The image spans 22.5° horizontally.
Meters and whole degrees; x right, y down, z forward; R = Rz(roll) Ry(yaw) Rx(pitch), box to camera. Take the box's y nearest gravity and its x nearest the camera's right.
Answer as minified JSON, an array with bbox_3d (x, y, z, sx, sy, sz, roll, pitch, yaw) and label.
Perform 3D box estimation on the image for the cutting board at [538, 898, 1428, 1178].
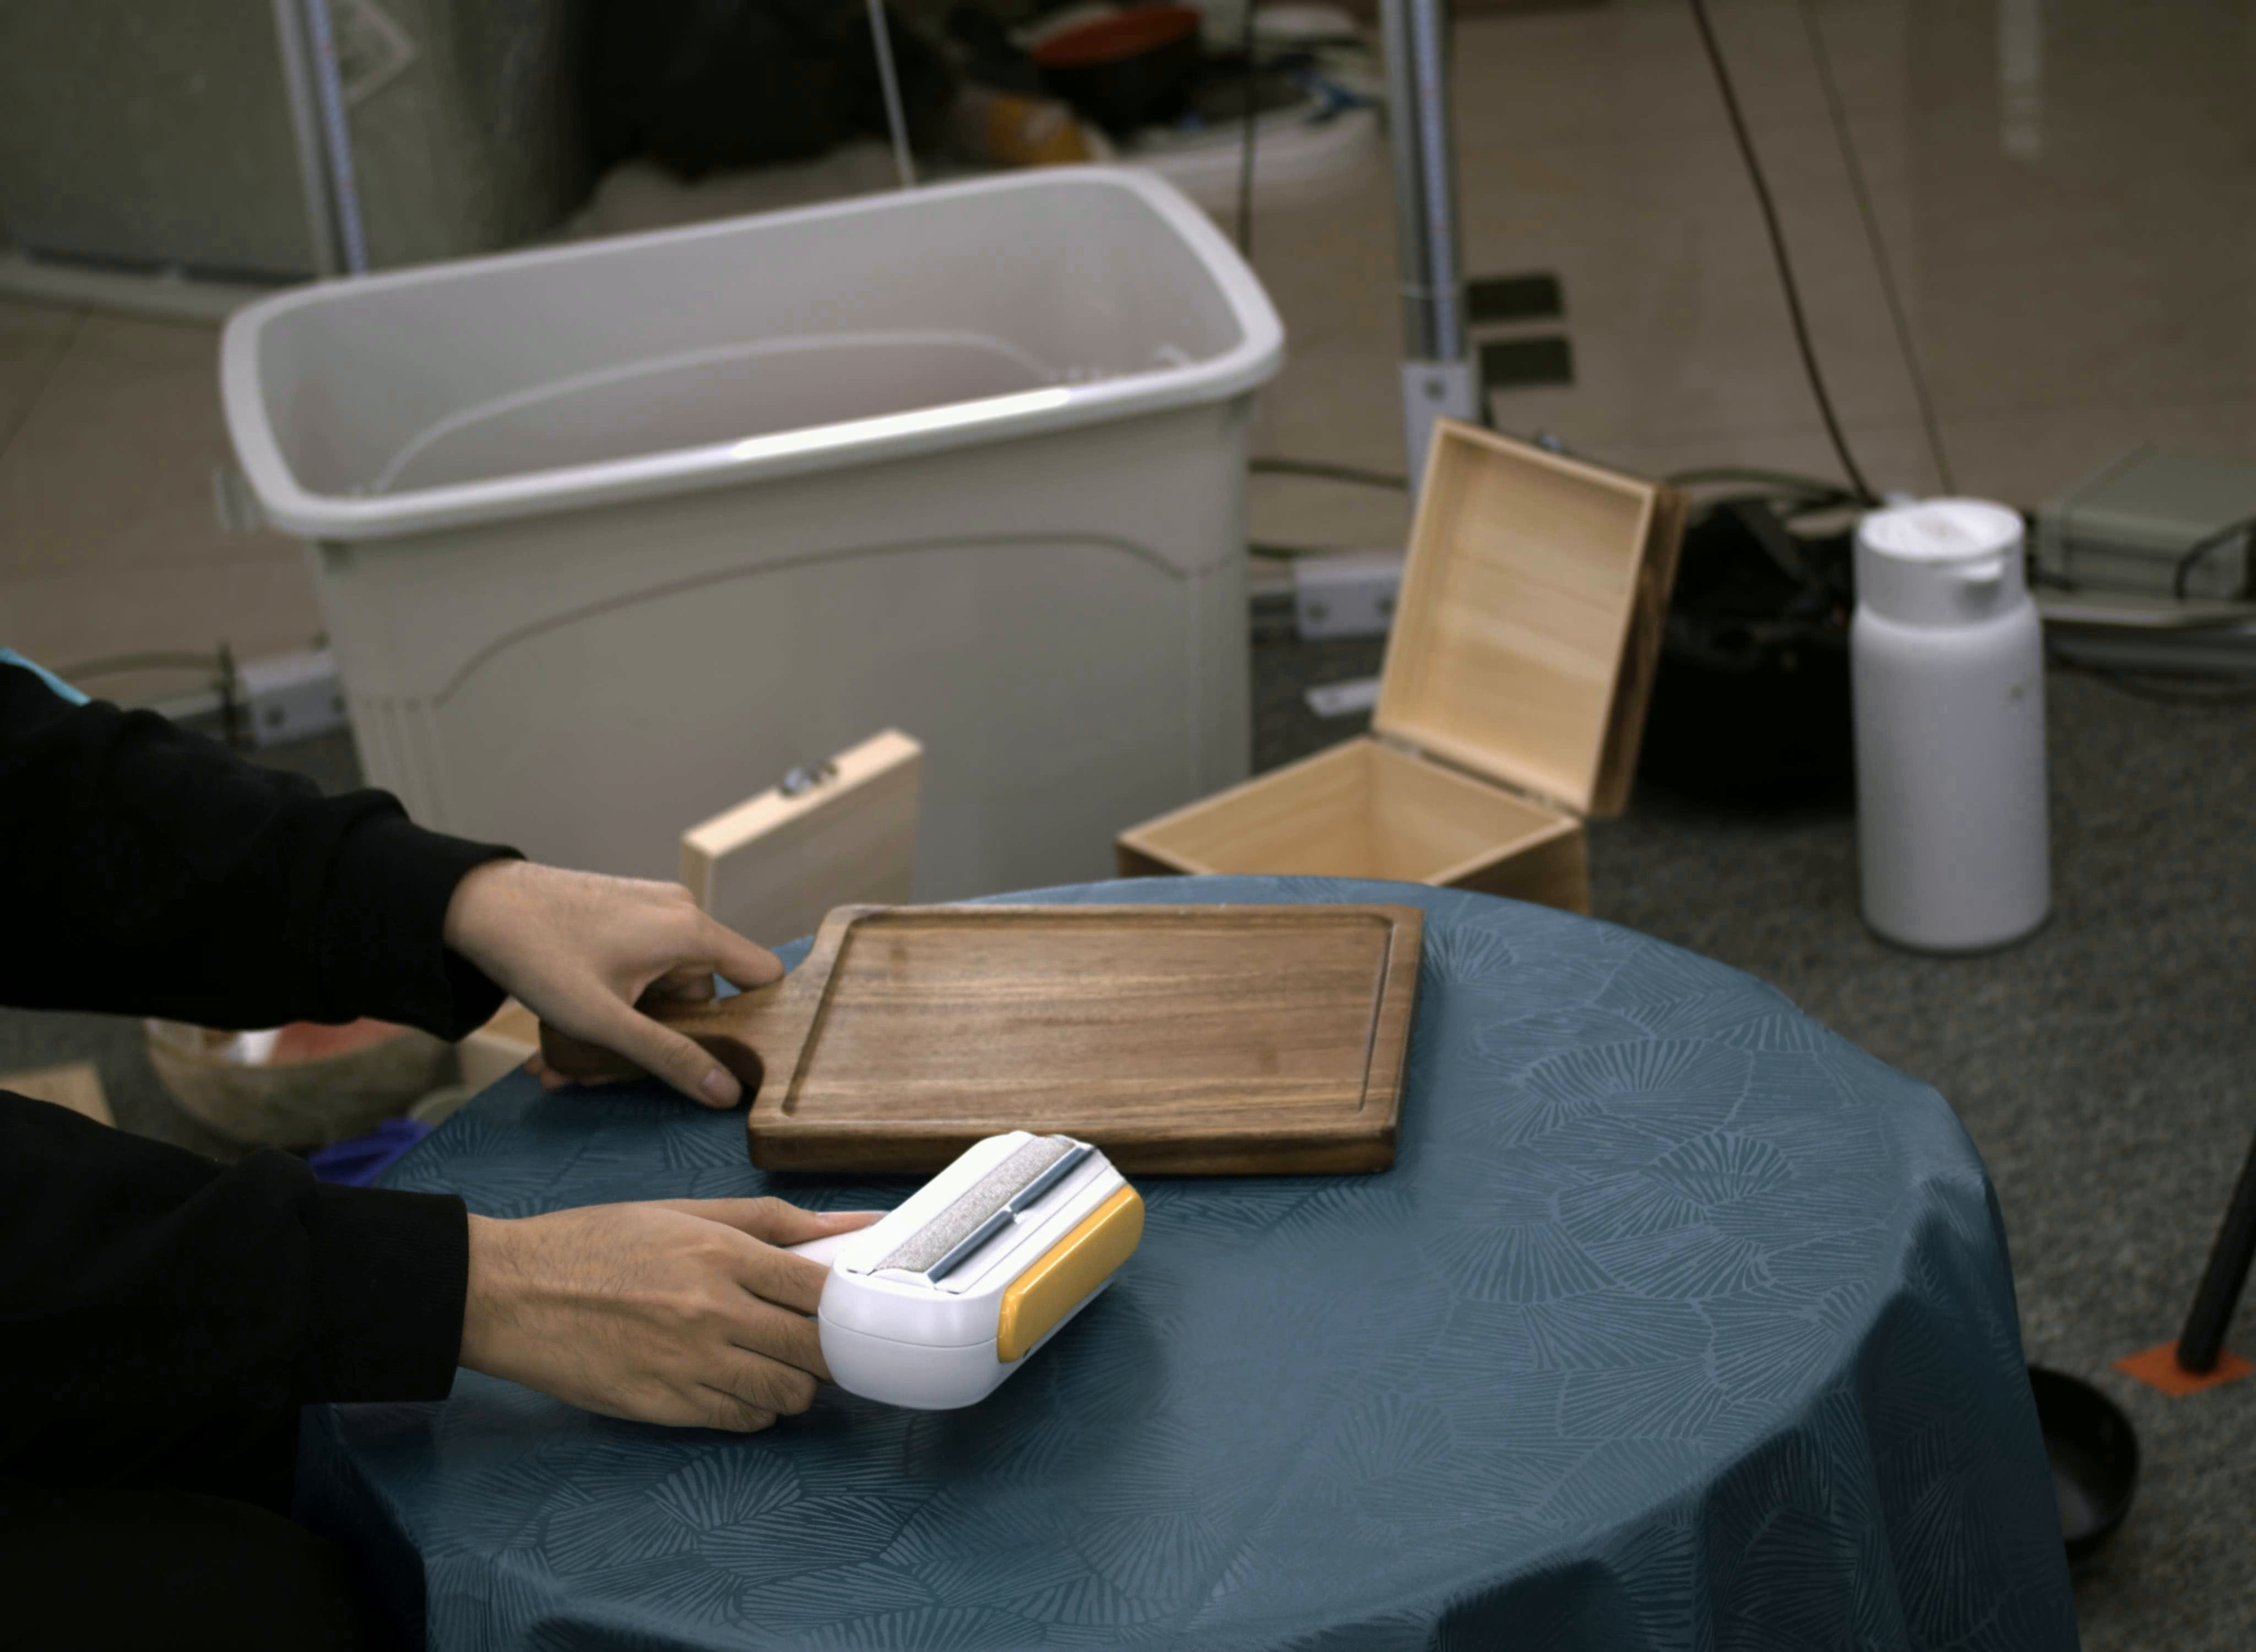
[{"bbox_3d":[-0.060,0.082,2.240,0.351,0.023,0.198,-1,26,8],"label":"cutting board"}]

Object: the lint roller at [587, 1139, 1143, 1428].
[{"bbox_3d":[-0.108,0.163,2.036,0.192,0.075,0.191,3,19,22],"label":"lint roller"}]
